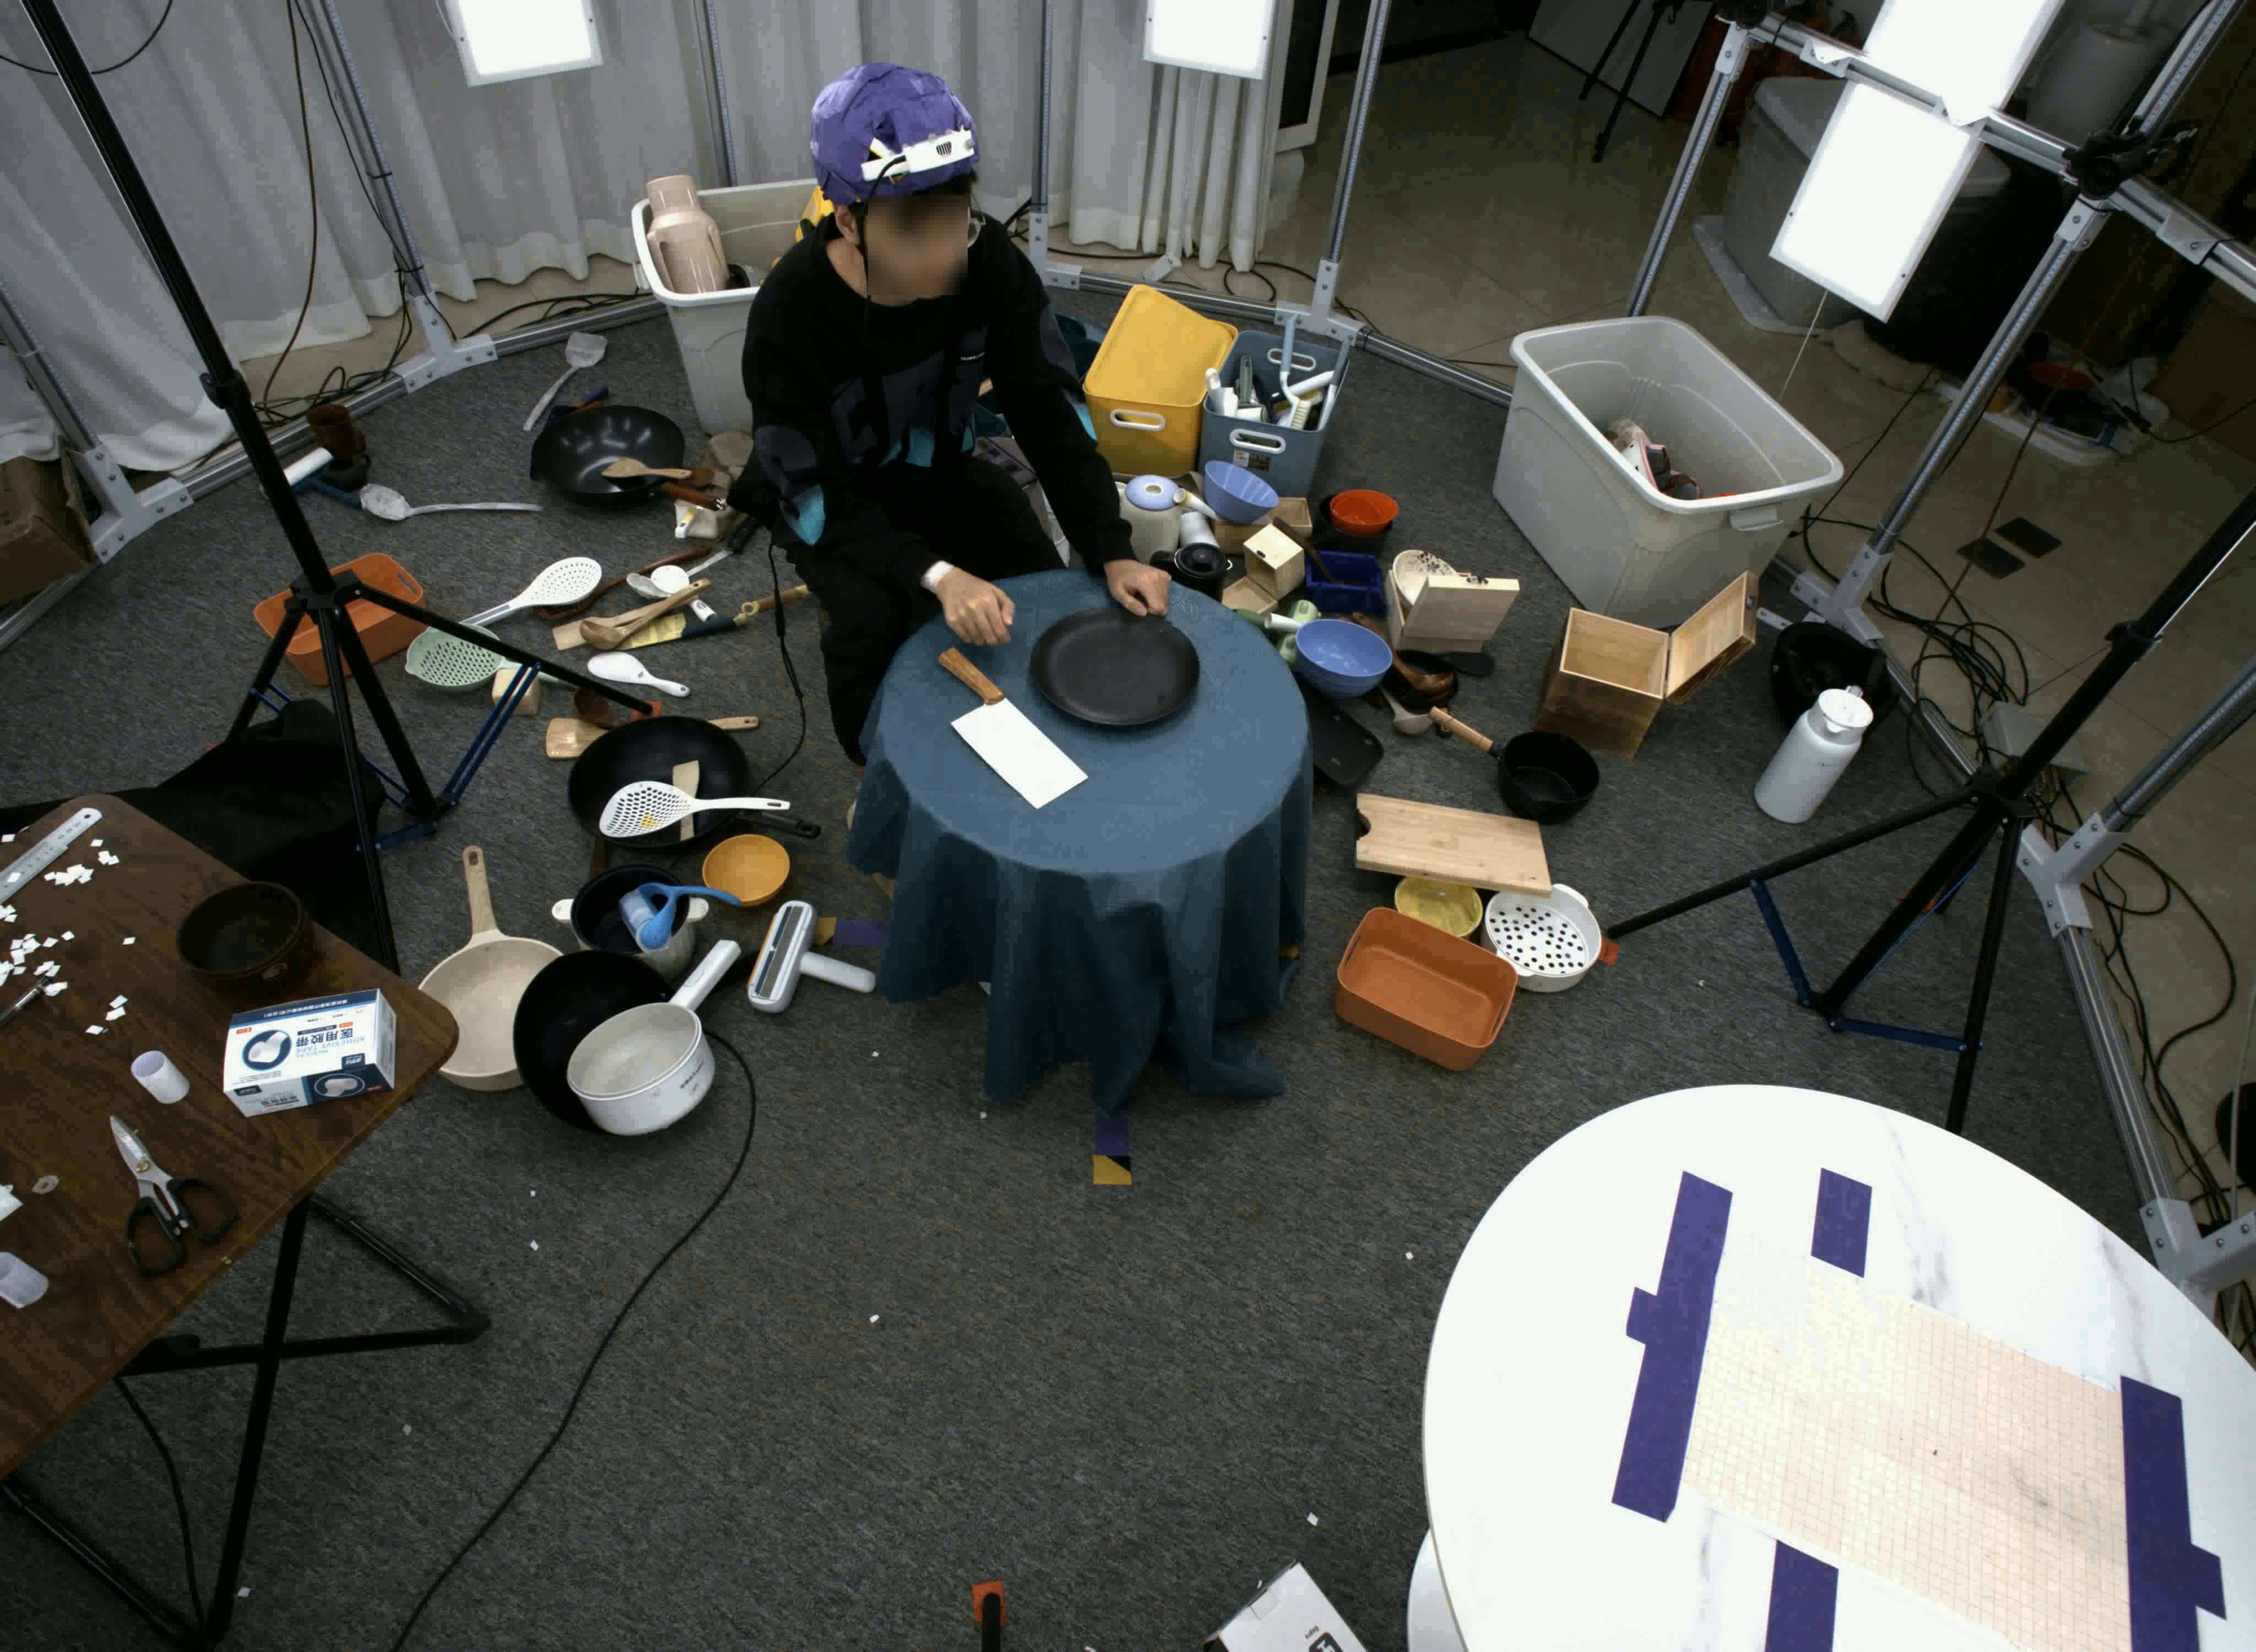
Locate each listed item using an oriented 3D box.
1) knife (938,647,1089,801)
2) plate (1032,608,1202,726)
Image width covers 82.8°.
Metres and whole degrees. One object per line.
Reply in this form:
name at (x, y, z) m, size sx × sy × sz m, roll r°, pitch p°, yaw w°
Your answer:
knife at (-0.181, -0.140, 1.768) m, size 0.093 × 0.020 × 0.311 m, roll -32°, pitch 60°, yaw -26°
plate at (-0.016, -0.226, 1.848) m, size 0.244 × 0.023 × 0.250 m, roll 2°, pitch 49°, yaw -2°
